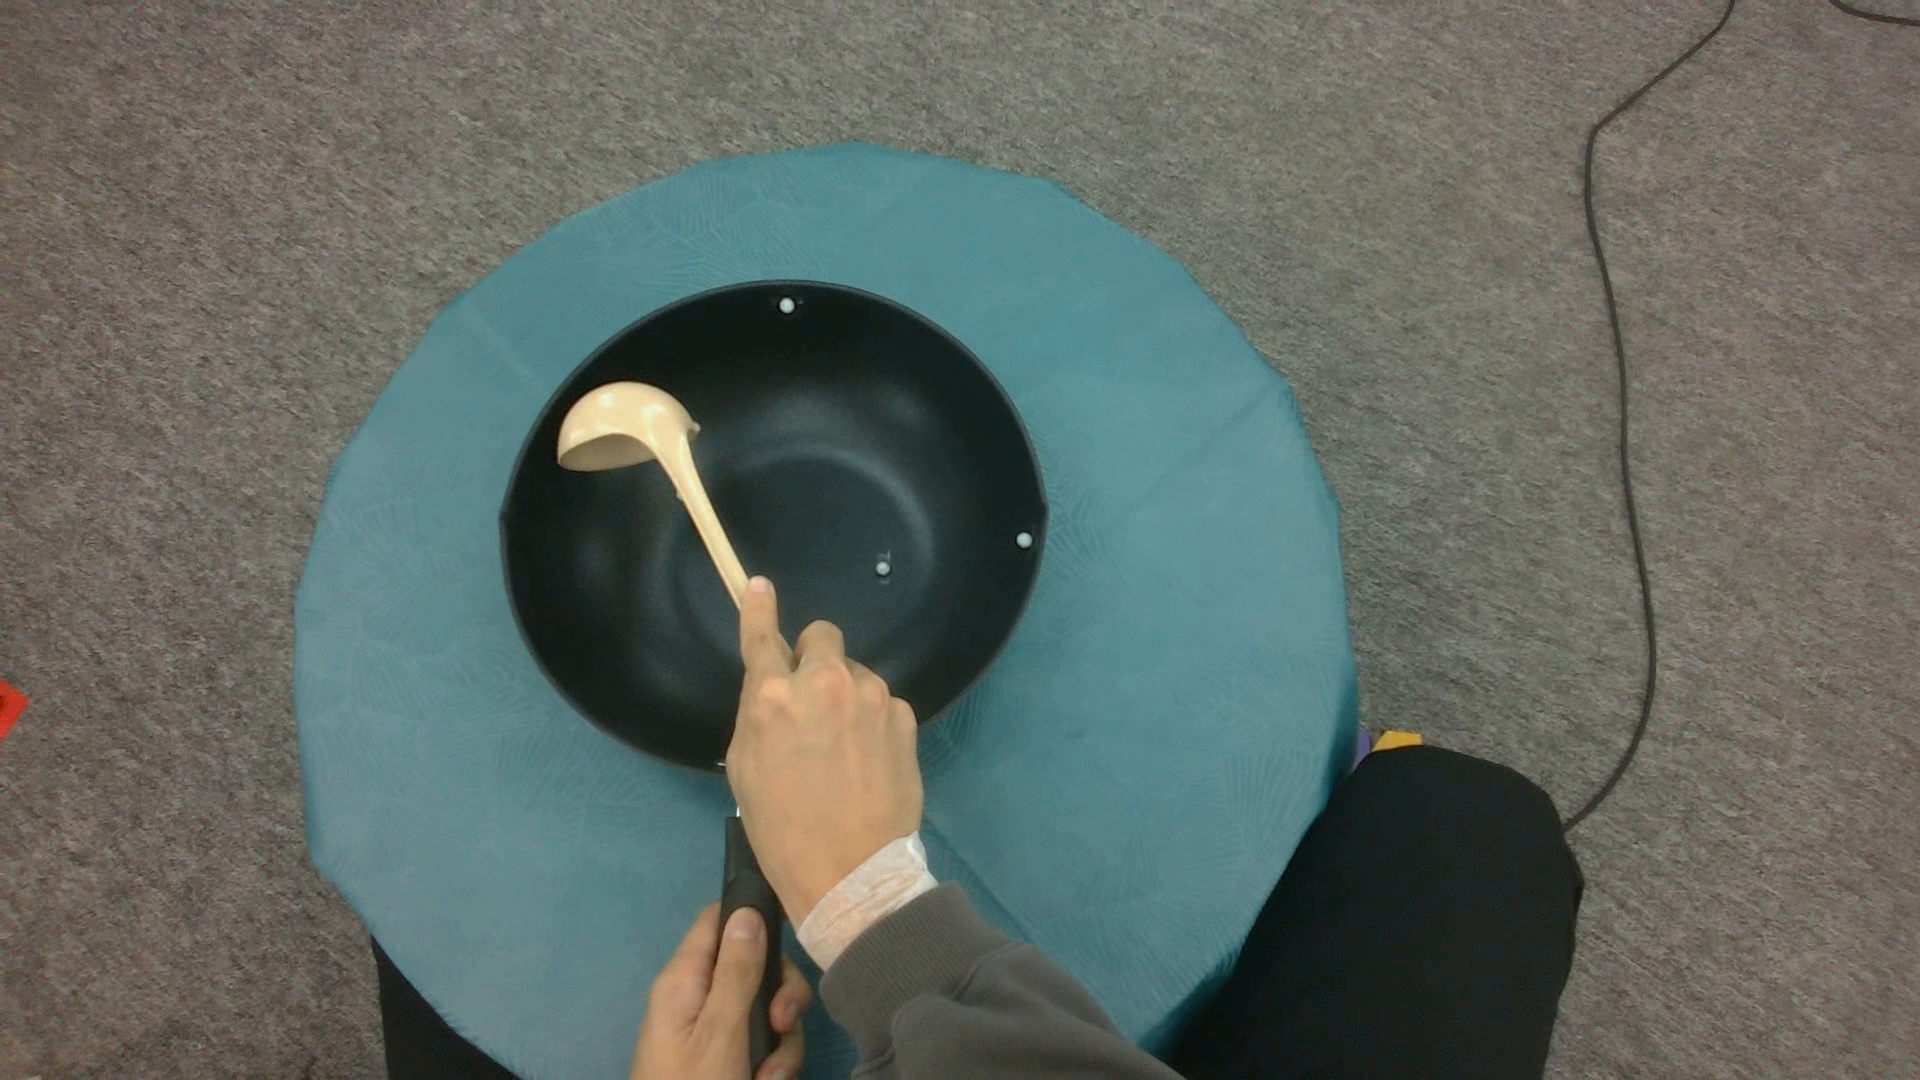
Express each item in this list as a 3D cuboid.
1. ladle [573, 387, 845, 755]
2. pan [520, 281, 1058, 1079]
[{"bbox_3d":[-0.129,0.024,0.706,0.072,0.072,0.255,-5,53,-39],"label":"ladle"},{"bbox_3d":[-0.092,0.085,0.735,0.288,0.086,0.464,0,71,1],"label":"pan"}]
